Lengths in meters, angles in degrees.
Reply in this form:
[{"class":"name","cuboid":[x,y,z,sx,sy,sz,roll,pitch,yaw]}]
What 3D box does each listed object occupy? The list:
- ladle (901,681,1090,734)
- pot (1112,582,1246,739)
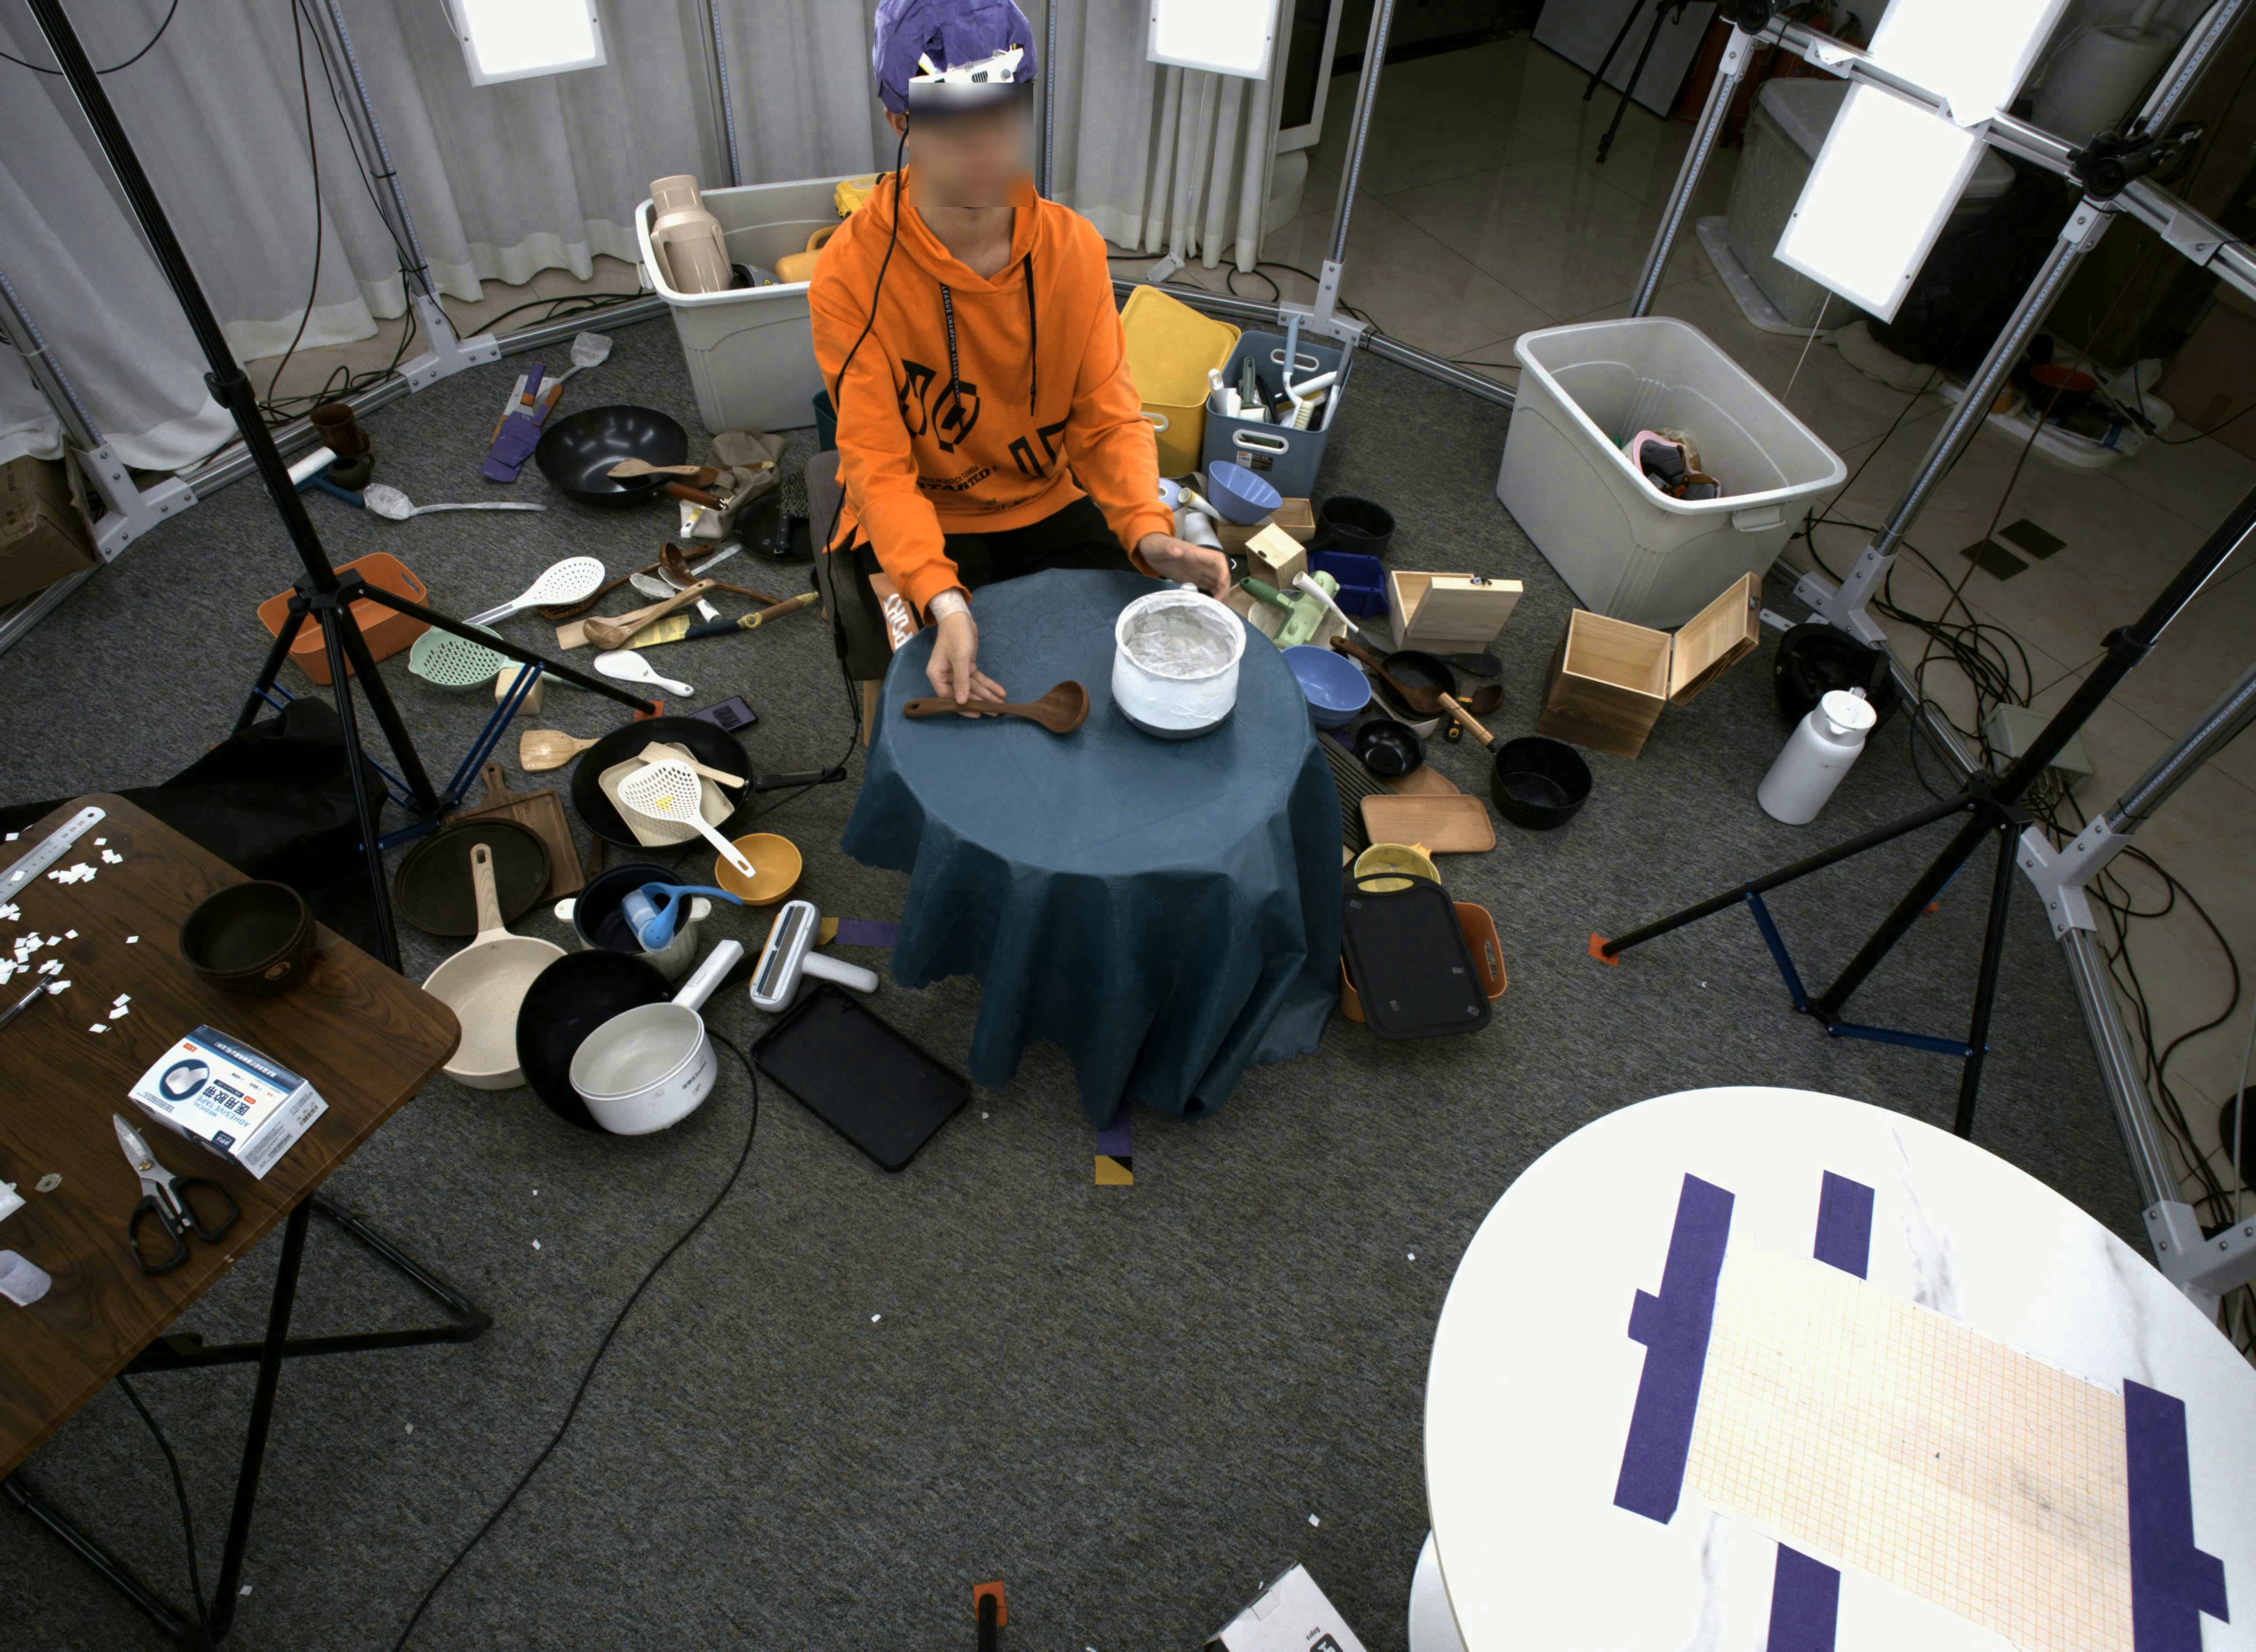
[{"class":"ladle","cuboid":[-0.182,-0.167,1.761,0.260,0.064,0.078,3,62,-2]},{"class":"pot","cuboid":[0.070,-0.241,1.794,0.179,0.133,0.239,8,49,2]}]
